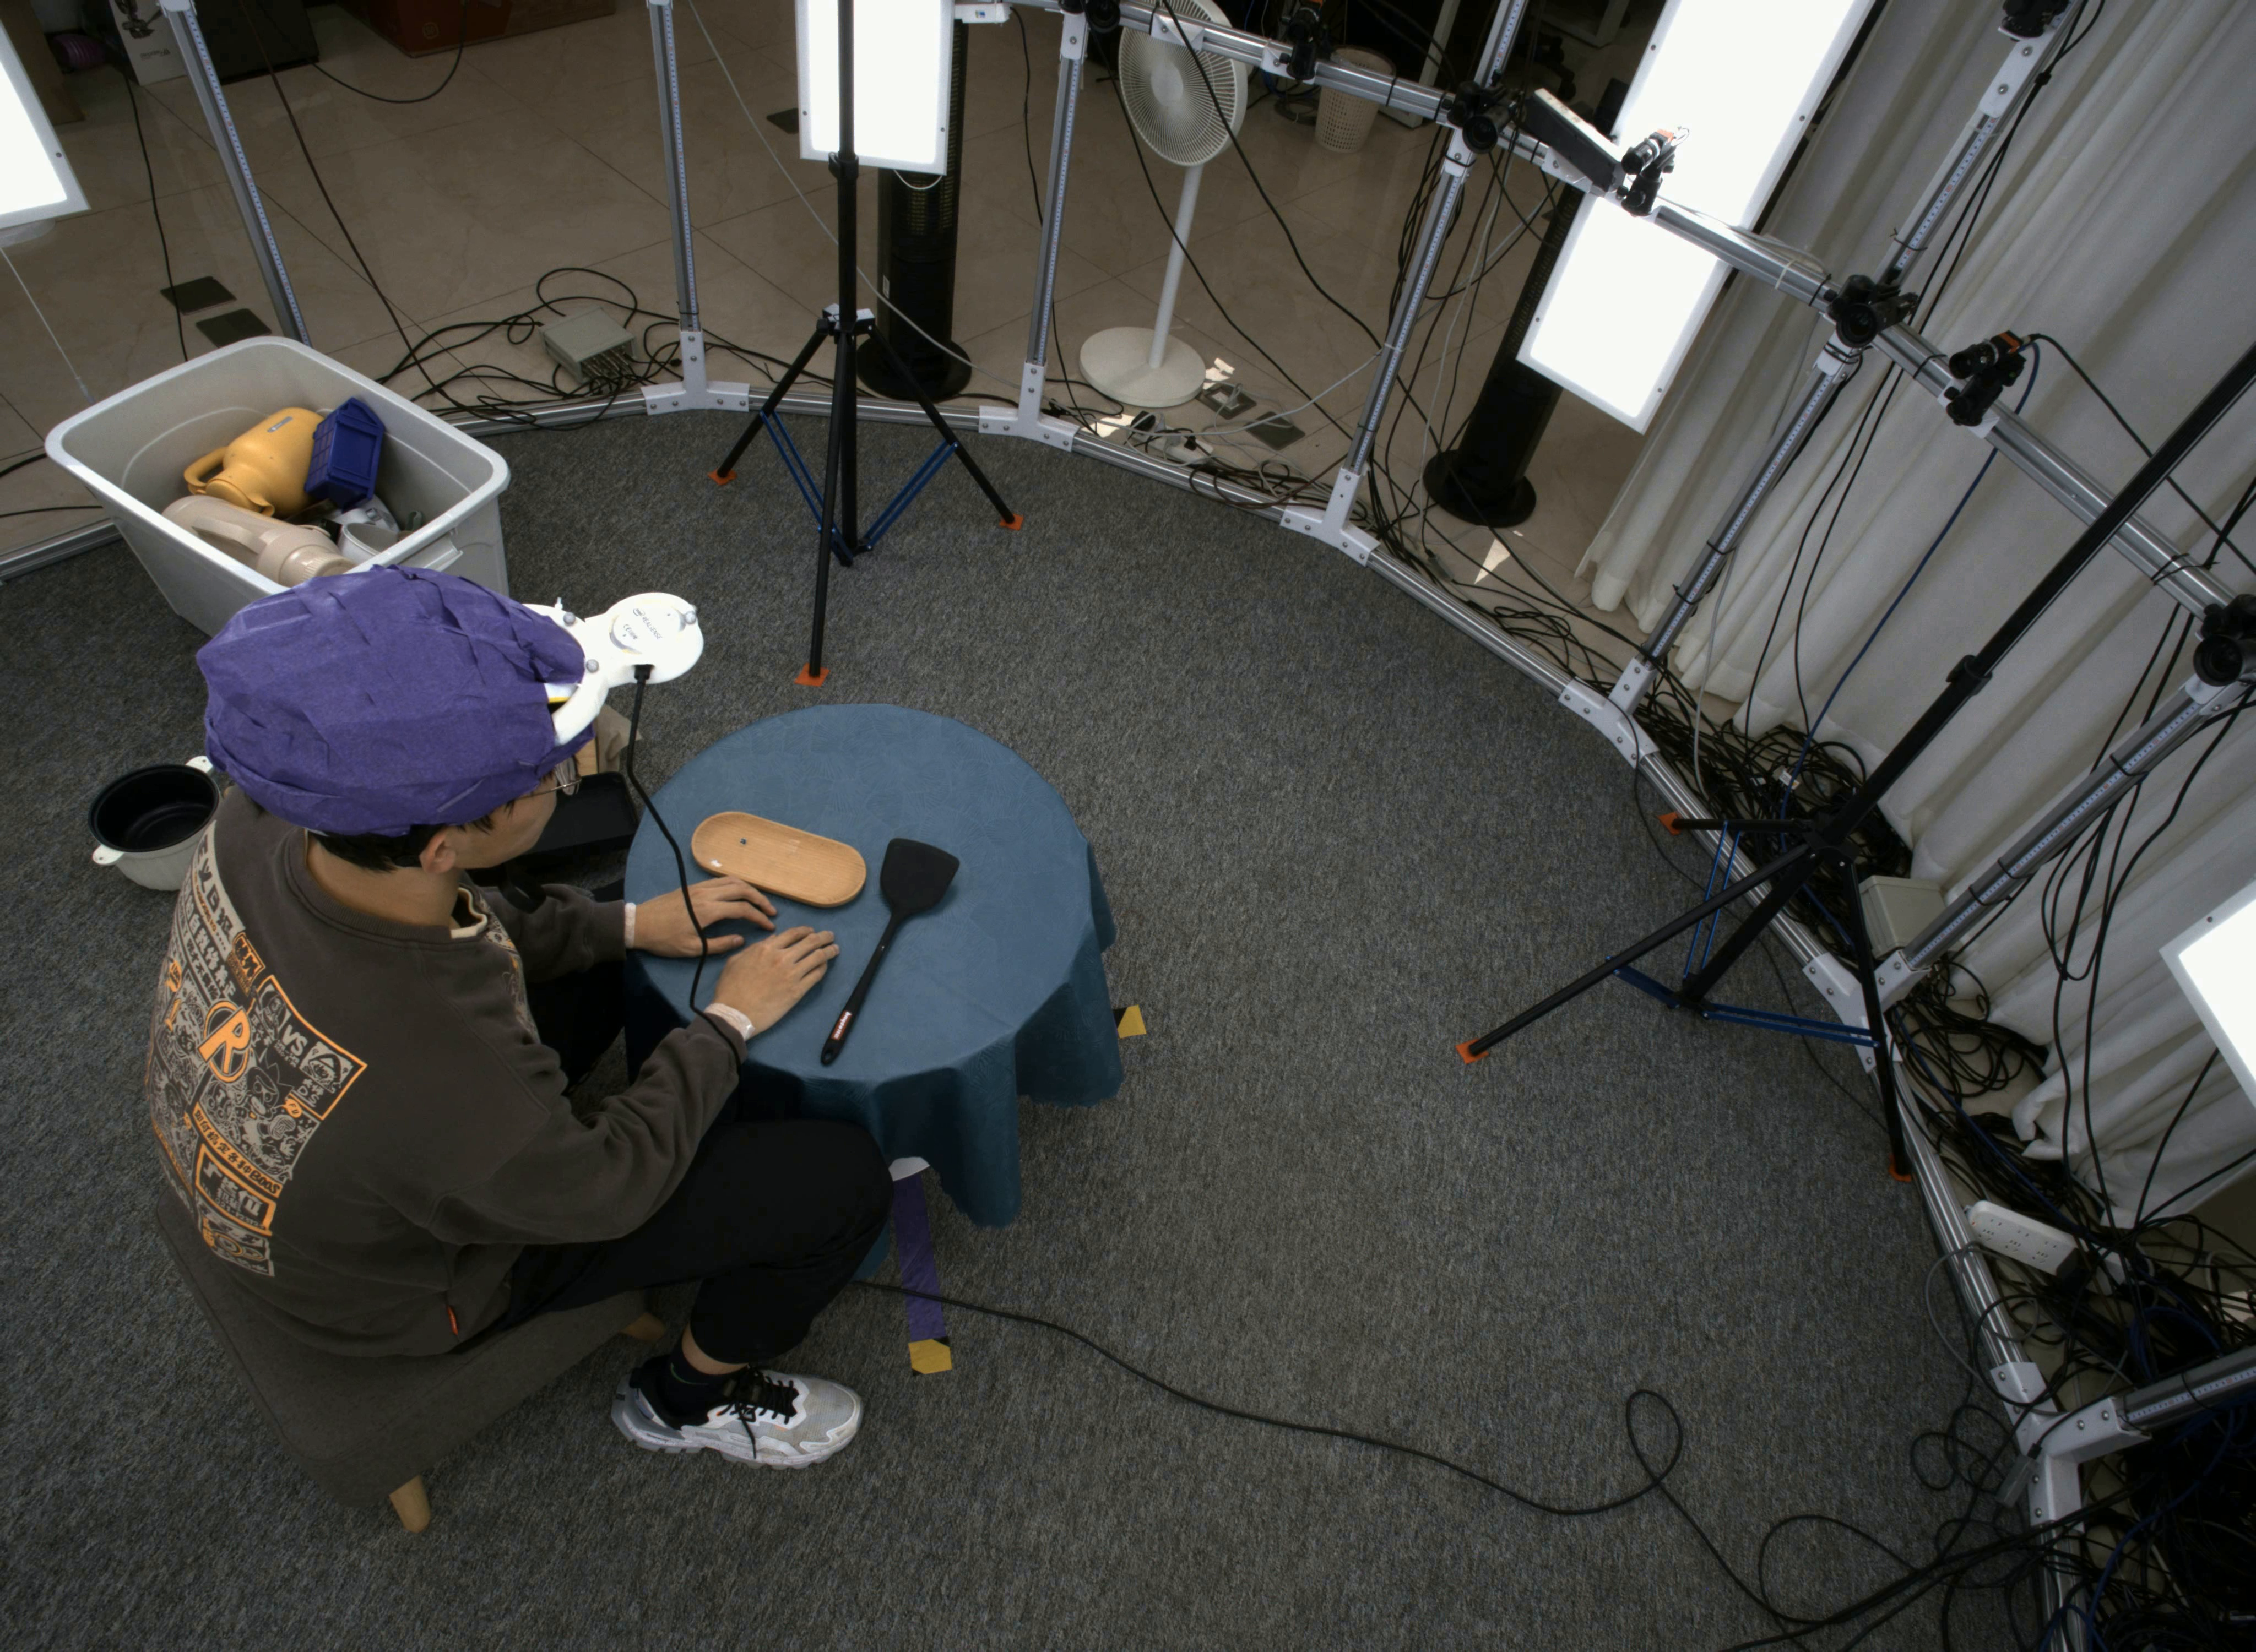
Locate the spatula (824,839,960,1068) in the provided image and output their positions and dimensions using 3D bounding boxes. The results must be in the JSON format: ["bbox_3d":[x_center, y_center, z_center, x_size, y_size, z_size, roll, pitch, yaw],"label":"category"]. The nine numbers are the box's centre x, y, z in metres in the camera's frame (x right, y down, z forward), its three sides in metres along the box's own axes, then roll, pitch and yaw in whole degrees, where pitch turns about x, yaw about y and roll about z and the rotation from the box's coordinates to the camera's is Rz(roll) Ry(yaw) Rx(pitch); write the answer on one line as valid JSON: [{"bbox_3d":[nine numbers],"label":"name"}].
[{"bbox_3d":[-0.310,0.155,1.629,0.098,0.041,0.323,19,52,3],"label":"spatula"}]

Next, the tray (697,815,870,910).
[{"bbox_3d":[-0.449,0.046,1.689,0.229,0.021,0.100,18,53,-2],"label":"tray"}]
